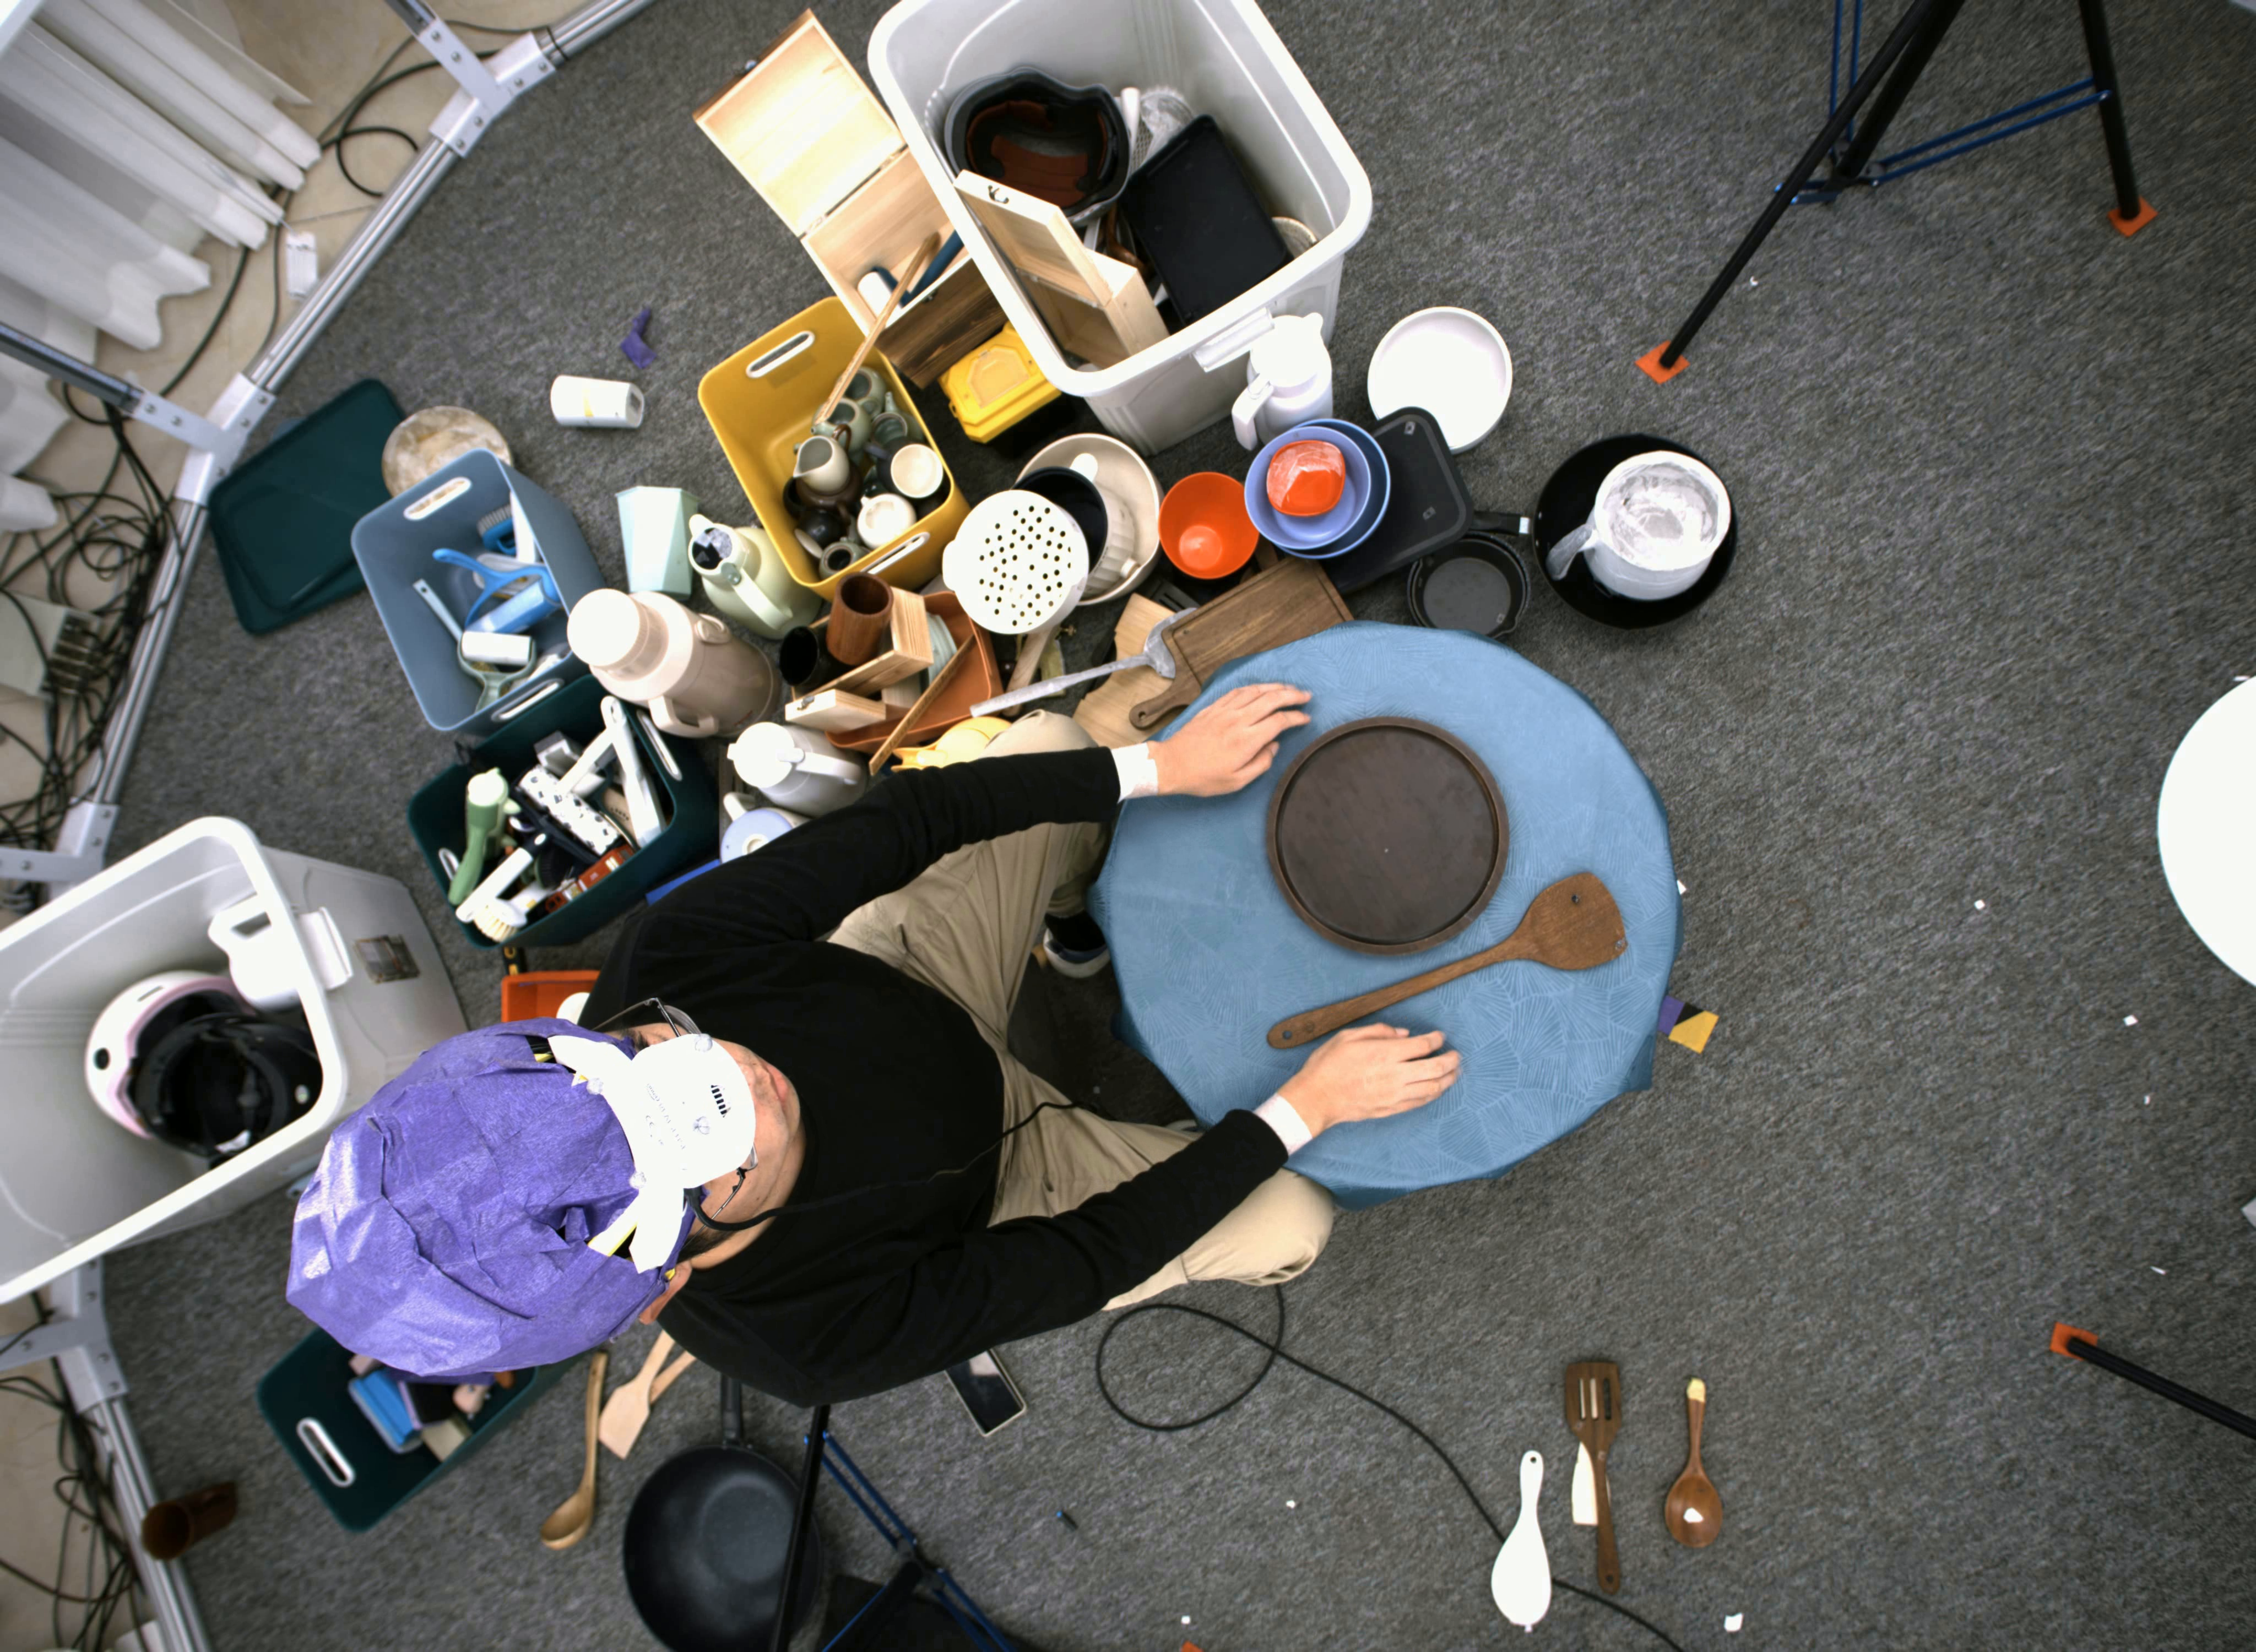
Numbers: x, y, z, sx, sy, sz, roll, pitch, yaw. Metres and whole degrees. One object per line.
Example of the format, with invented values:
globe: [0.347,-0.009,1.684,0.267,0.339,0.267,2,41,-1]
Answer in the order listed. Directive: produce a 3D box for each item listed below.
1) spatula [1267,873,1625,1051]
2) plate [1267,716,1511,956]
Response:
spatula: [0.325,0.155,1.438,0.388,0.016,0.095,-23,82,9]
plate: [0.272,0.009,1.451,0.256,0.029,0.254,-1,88,10]
